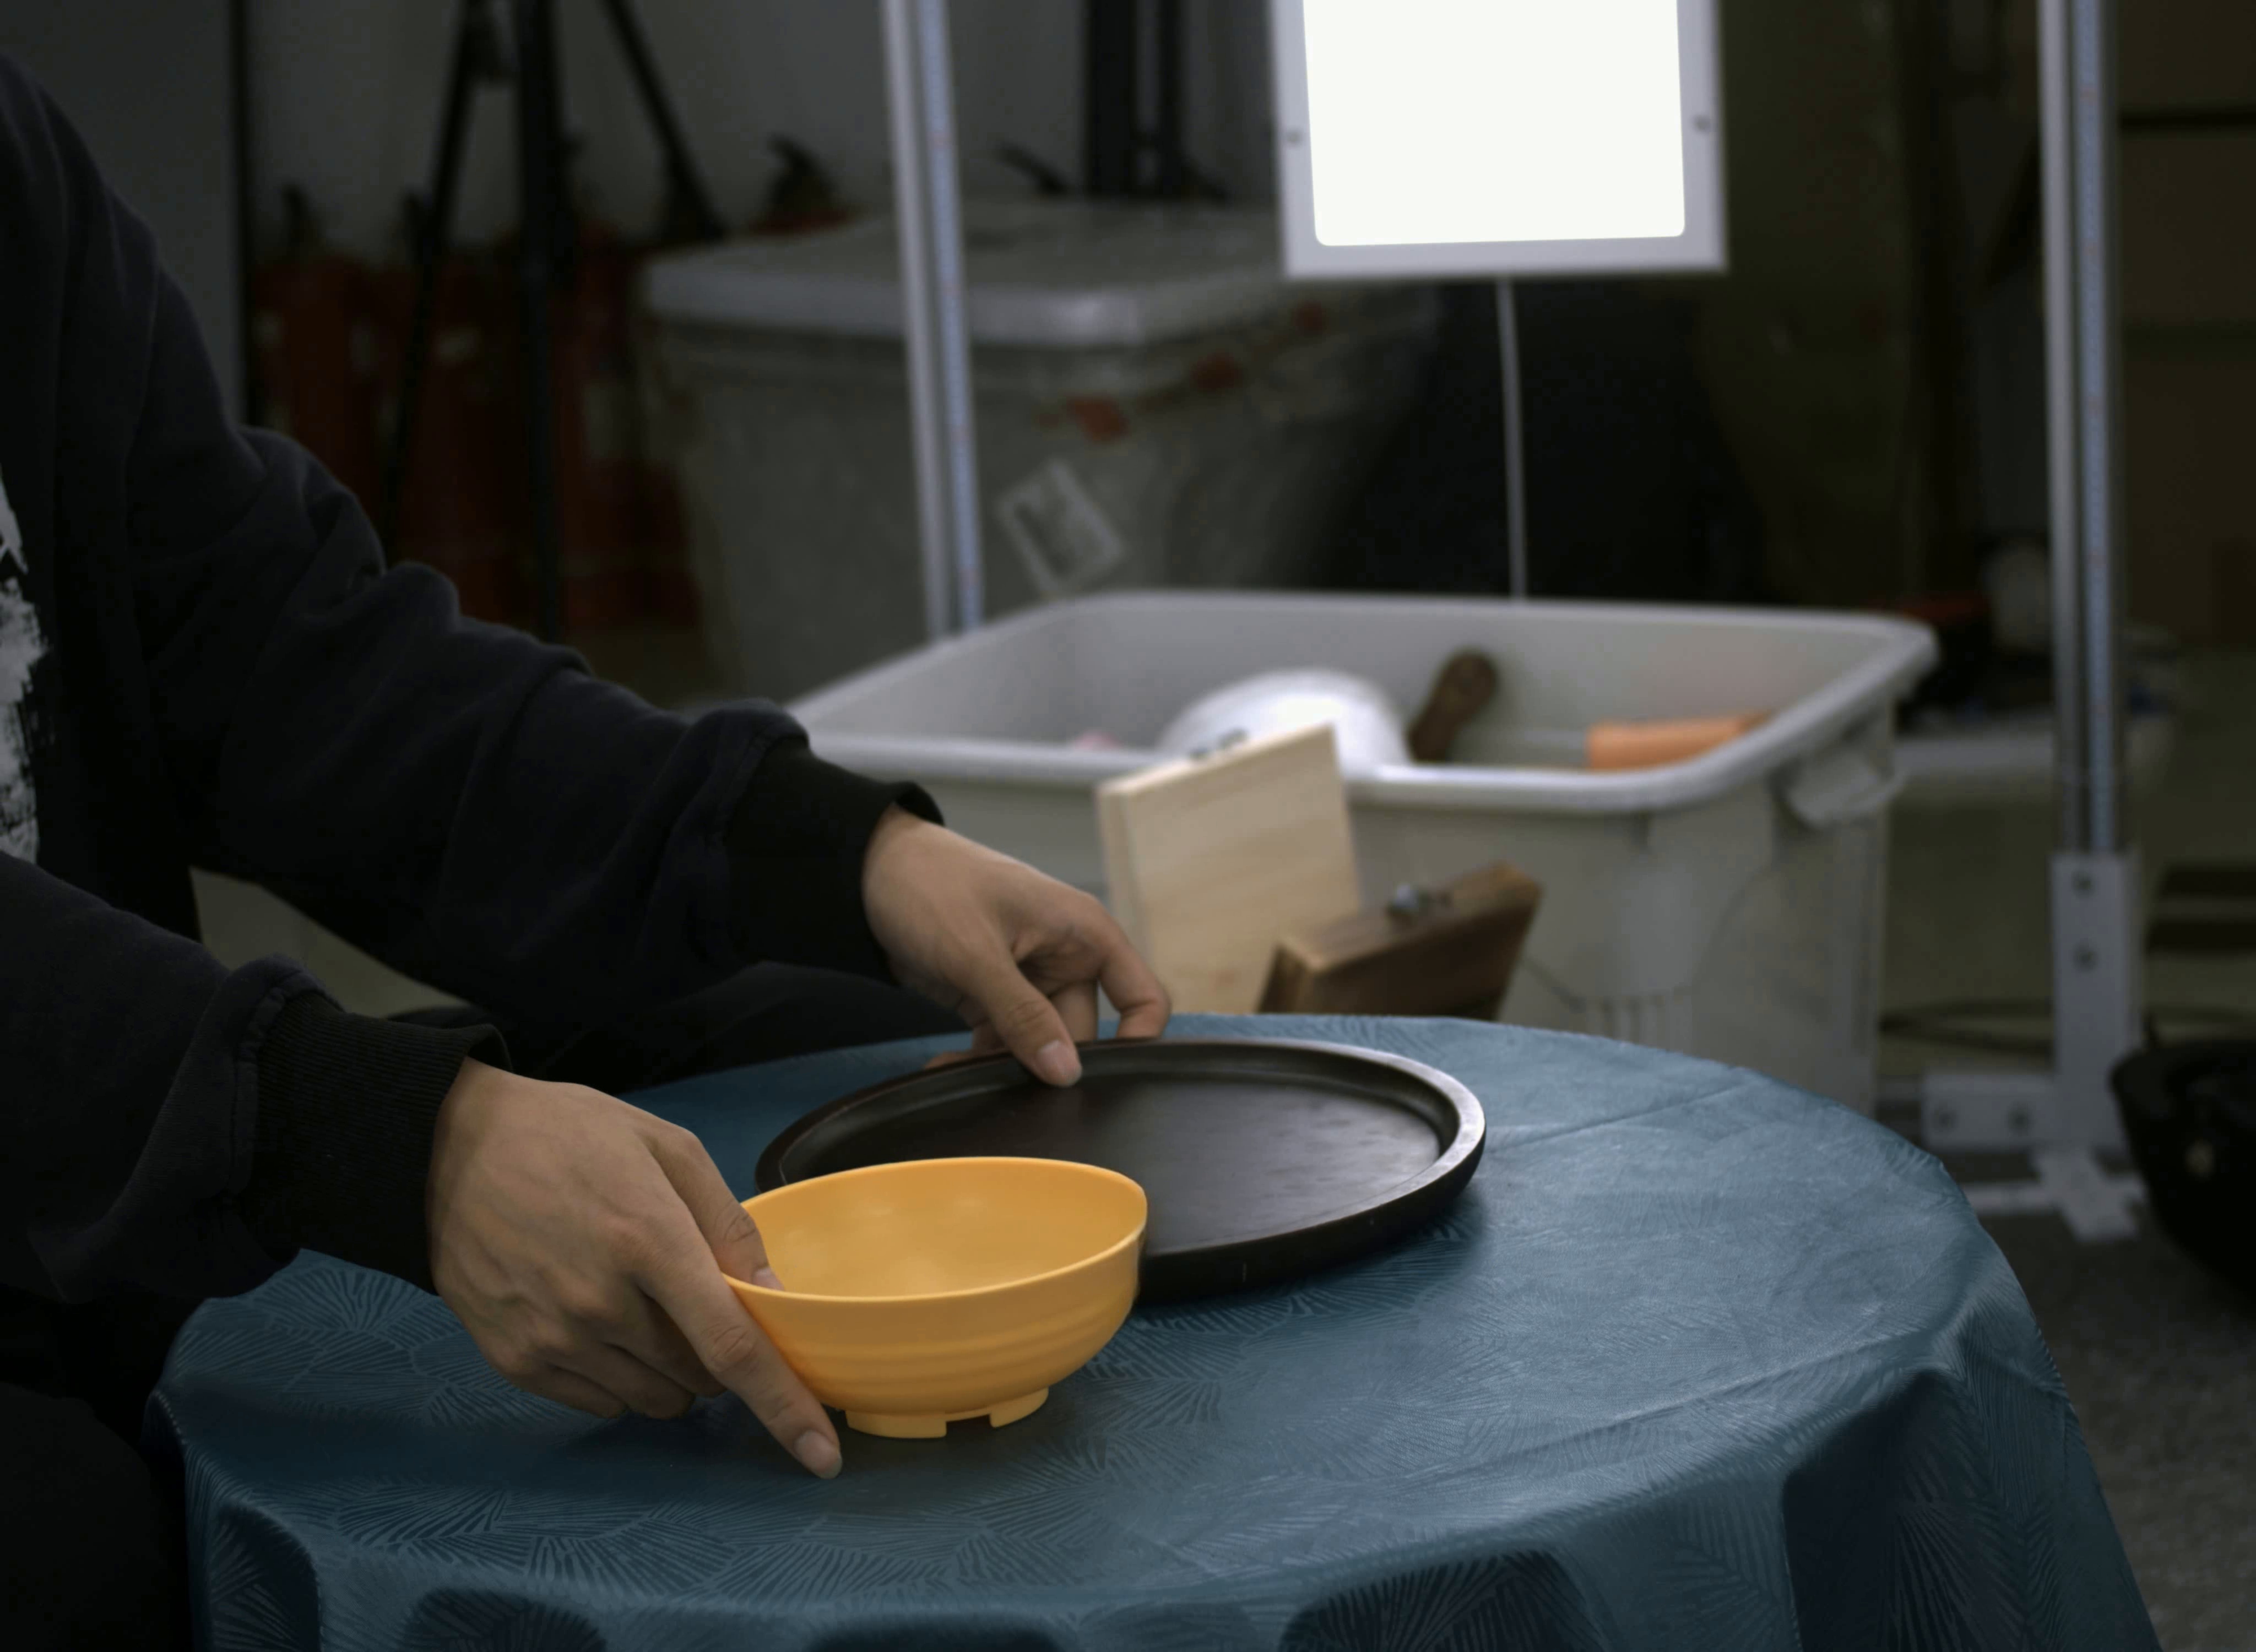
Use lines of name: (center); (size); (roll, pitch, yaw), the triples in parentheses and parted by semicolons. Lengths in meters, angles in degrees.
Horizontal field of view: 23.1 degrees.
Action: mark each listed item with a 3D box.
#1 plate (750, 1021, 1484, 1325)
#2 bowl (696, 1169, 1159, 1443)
plate: (-0.003, 0.118, 1.888); (0.254, 0.029, 0.254); (-6, 16, 0)
bowl: (-0.059, 0.152, 1.697); (0.145, 0.060, 0.145); (-6, 11, 0)
